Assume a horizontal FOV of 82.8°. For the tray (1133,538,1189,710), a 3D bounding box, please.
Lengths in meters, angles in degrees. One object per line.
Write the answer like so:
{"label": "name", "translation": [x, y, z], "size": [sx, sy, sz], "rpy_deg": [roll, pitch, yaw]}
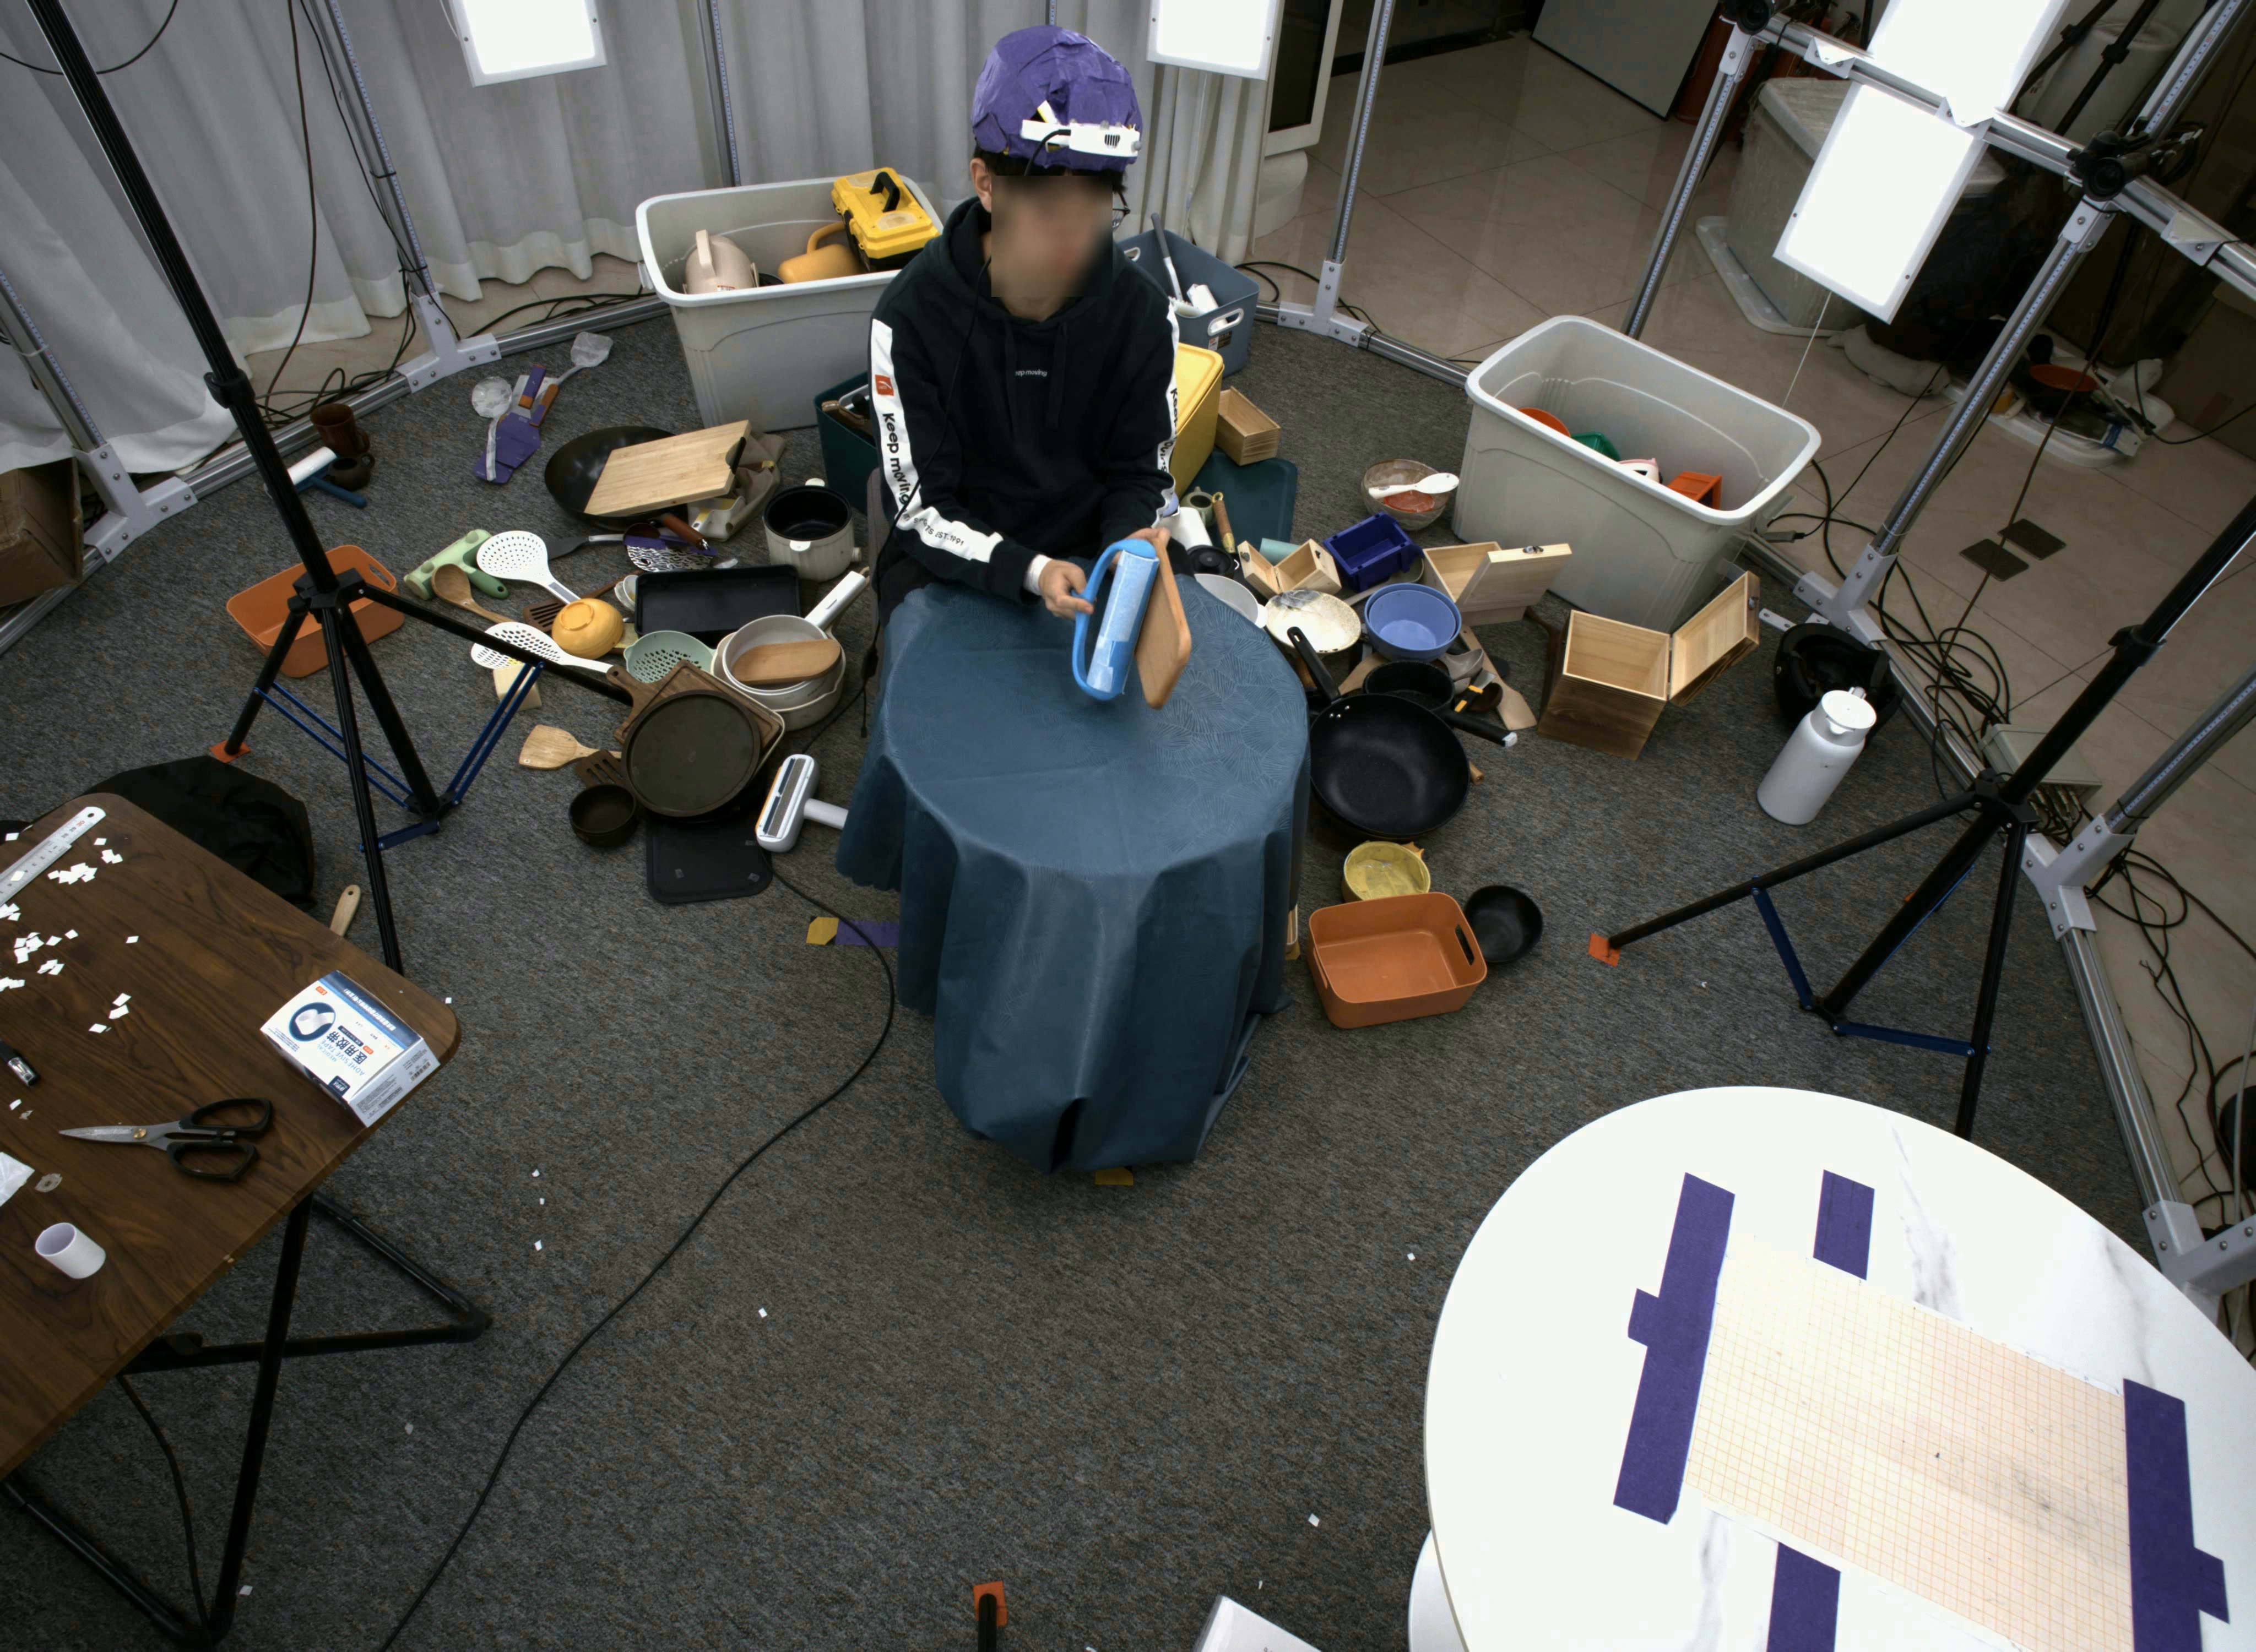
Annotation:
{"label": "tray", "translation": [0.034, -0.278, 1.744], "size": [0.023, 0.128, 0.257], "rpy_deg": [11, 43, -24]}

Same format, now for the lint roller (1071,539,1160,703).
{"label": "lint roller", "translation": [-0.042, -0.301, 1.795], "size": [0.067, 0.226, 0.183], "rpy_deg": [-1, 23, -38]}
